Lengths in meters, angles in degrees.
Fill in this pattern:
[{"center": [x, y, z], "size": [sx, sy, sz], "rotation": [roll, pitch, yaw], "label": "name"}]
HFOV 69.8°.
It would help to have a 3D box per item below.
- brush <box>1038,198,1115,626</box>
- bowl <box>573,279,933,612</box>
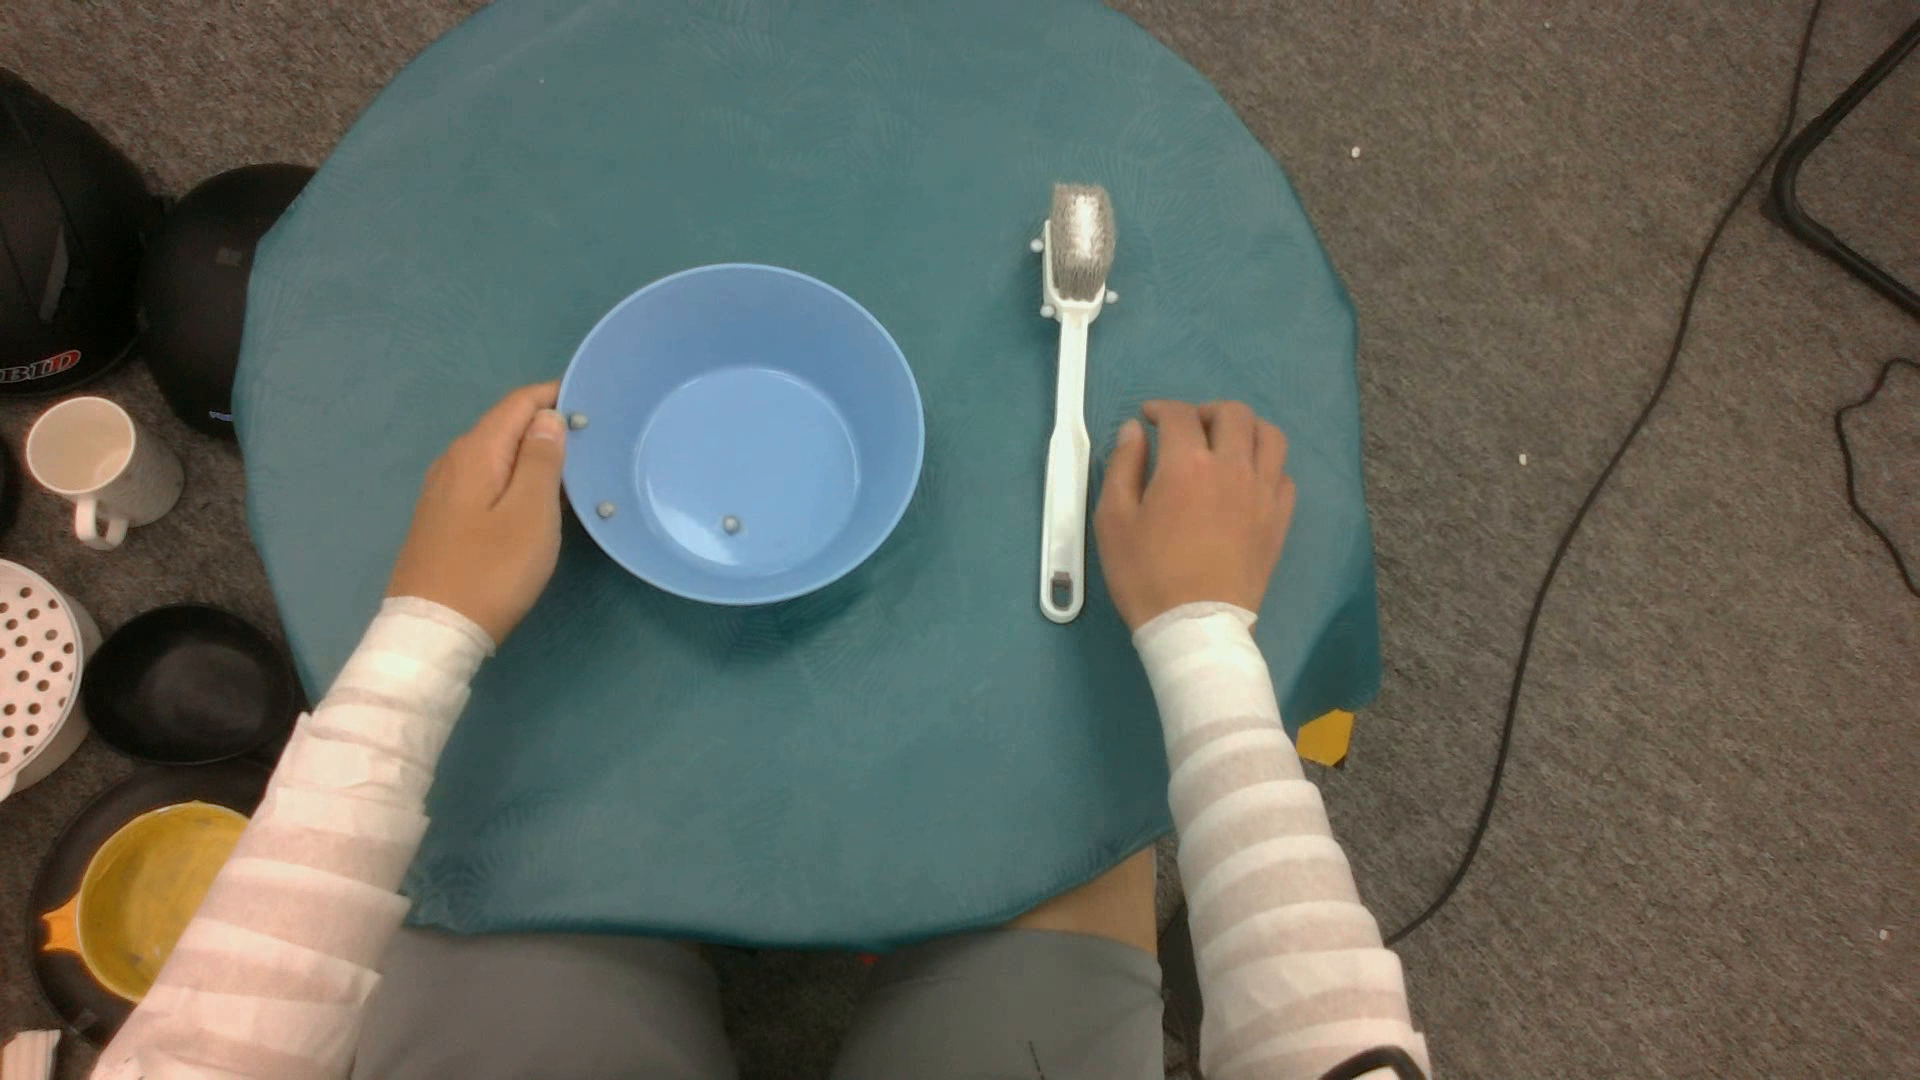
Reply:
[{"center": [0.062, -0.076, 0.748], "size": [0.034, 0.050, 0.244], "rotation": [5, 71, -4], "label": "brush"}, {"center": [-0.103, -0.041, 0.708], "size": [0.176, 0.070, 0.176], "rotation": [2, 72, -5], "label": "bowl"}]
